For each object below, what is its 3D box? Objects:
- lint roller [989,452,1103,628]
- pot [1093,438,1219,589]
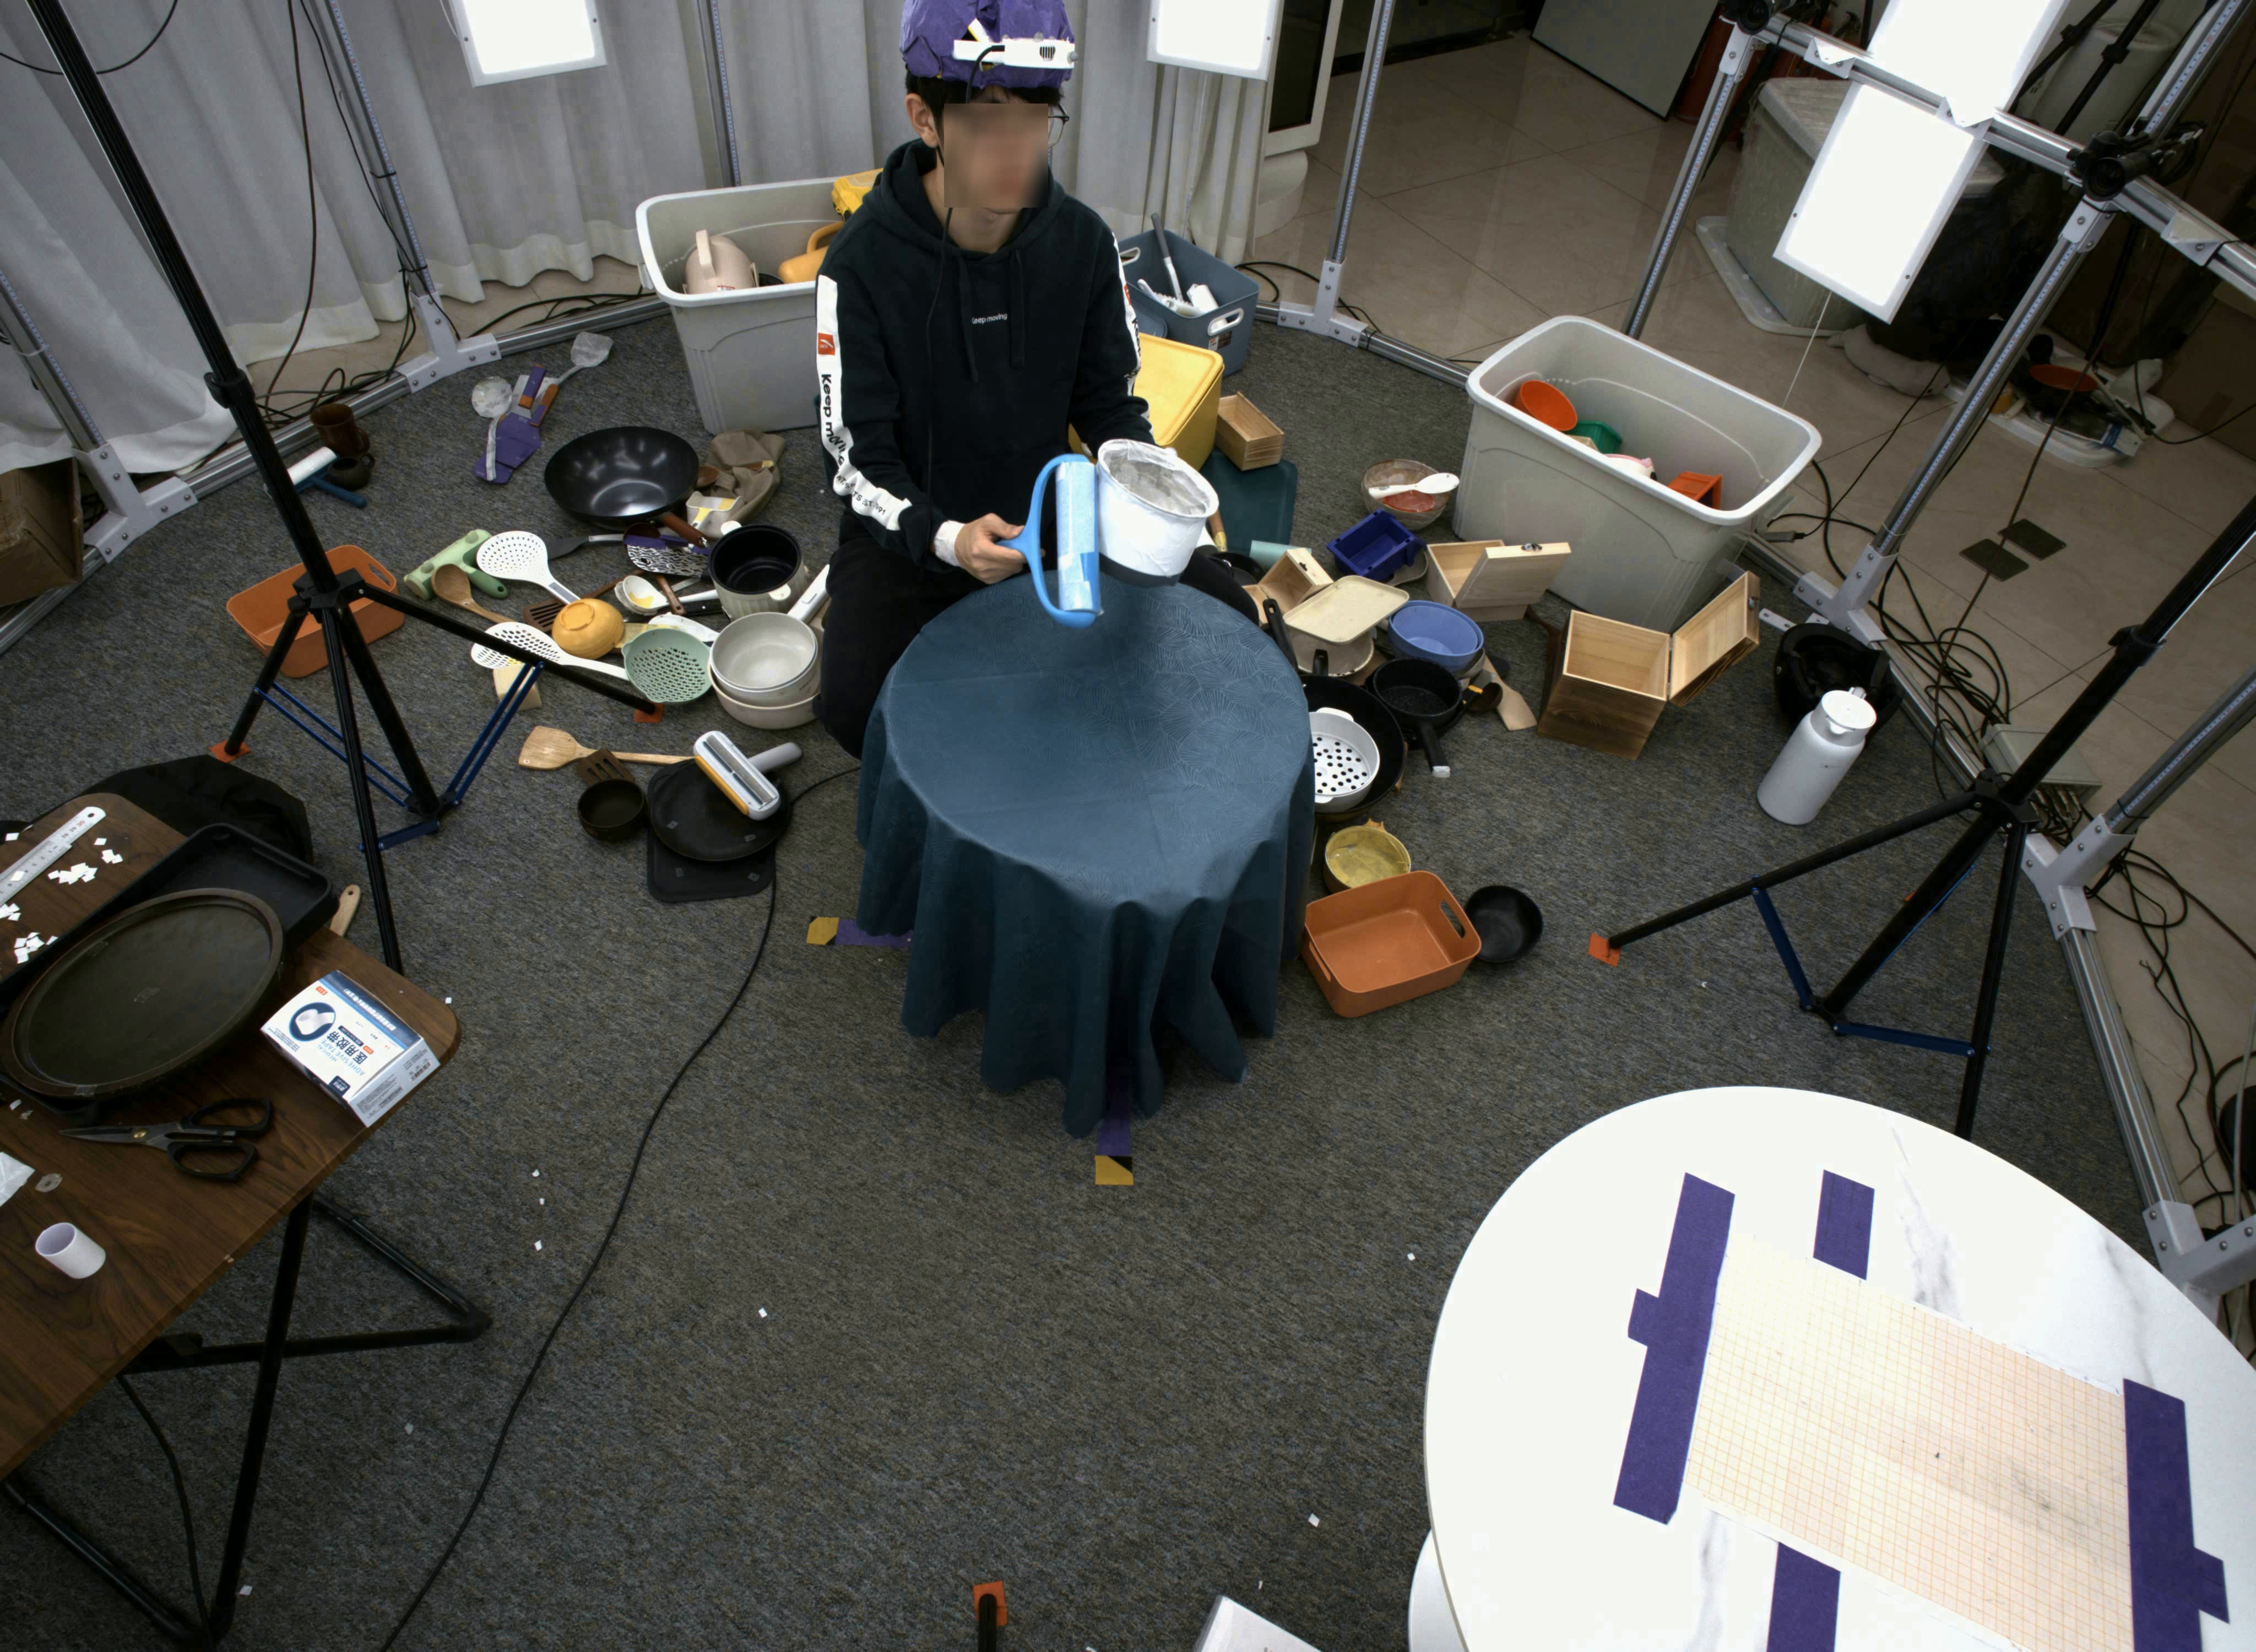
[{"bbox_3d":[-0.118,-0.364,1.689,0.180,0.067,0.230,-7,84,25],"label":"lint roller"},{"bbox_3d":[0.022,-0.436,1.768,0.178,0.134,0.239,25,38,-6],"label":"pot"}]
